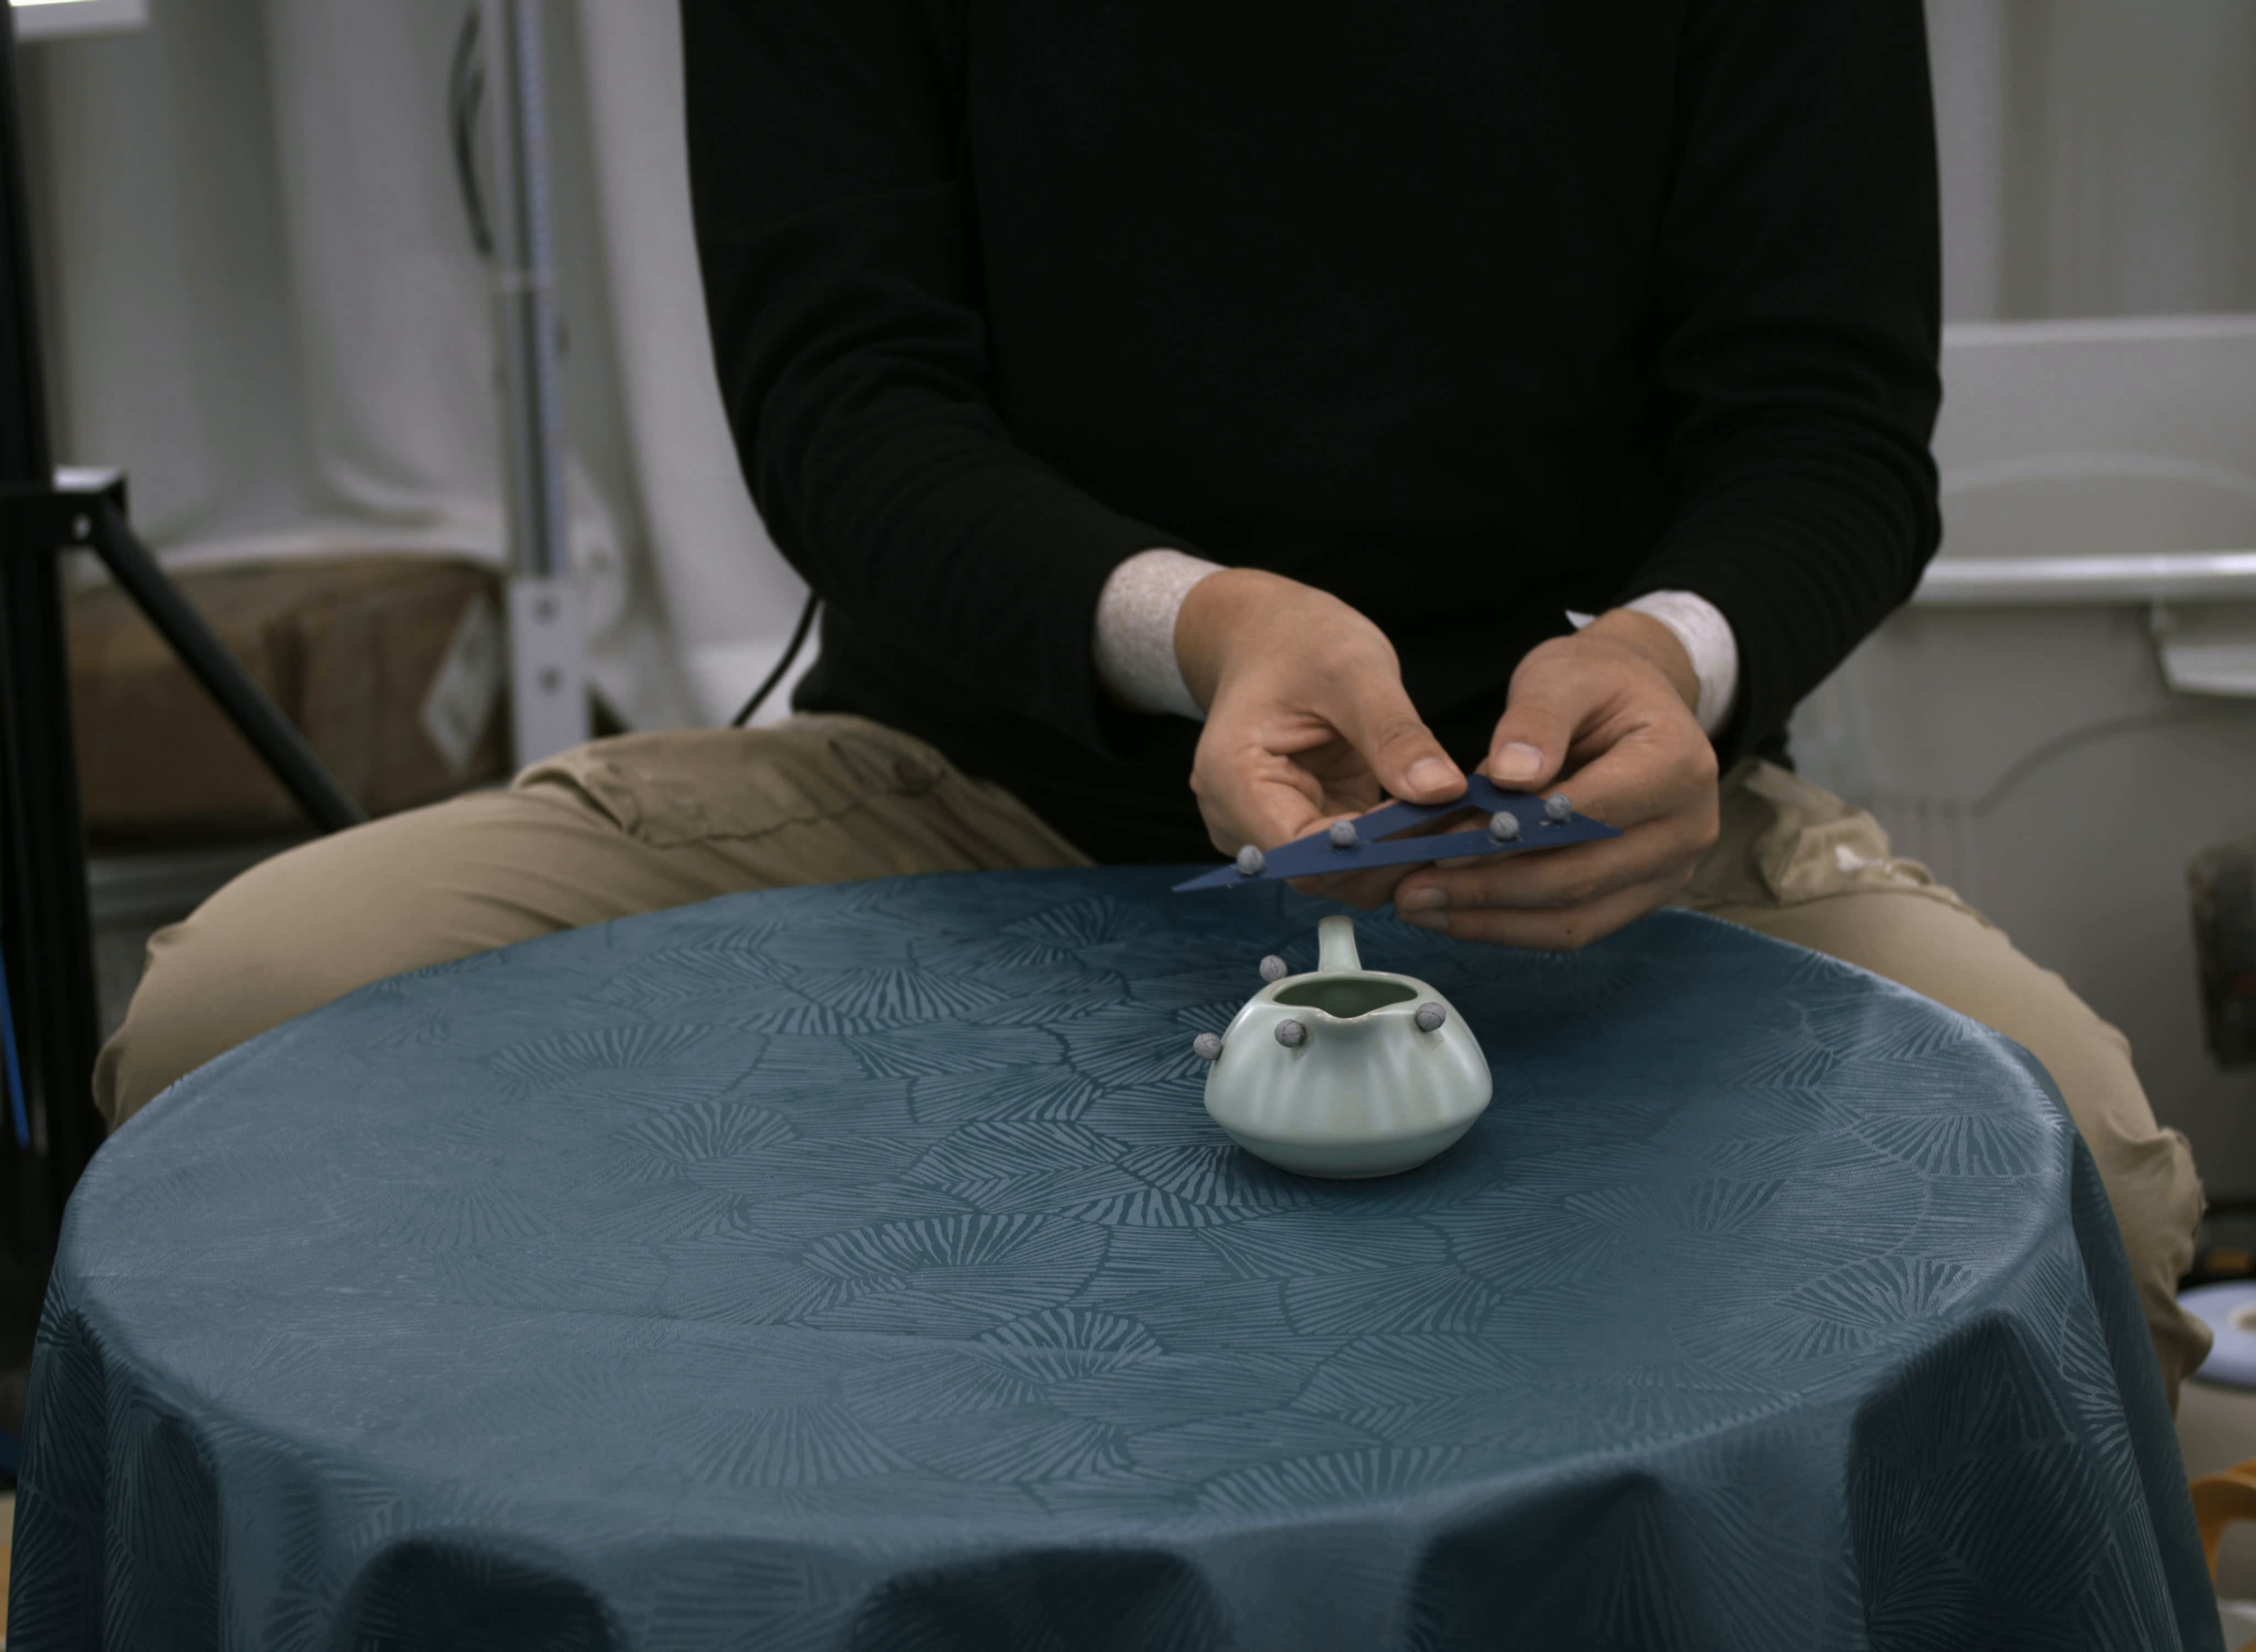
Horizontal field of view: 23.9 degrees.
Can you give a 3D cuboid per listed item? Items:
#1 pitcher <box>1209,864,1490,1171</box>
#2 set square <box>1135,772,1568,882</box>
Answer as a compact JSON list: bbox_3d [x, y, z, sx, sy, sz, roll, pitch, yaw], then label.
[{"bbox_3d":[0.067,0.059,1.593,0.087,0.060,0.108,-7,30,21],"label":"pitcher"},{"bbox_3d":[0.067,-0.002,1.632,0.131,0.006,0.061,-6,23,2],"label":"set square"}]
